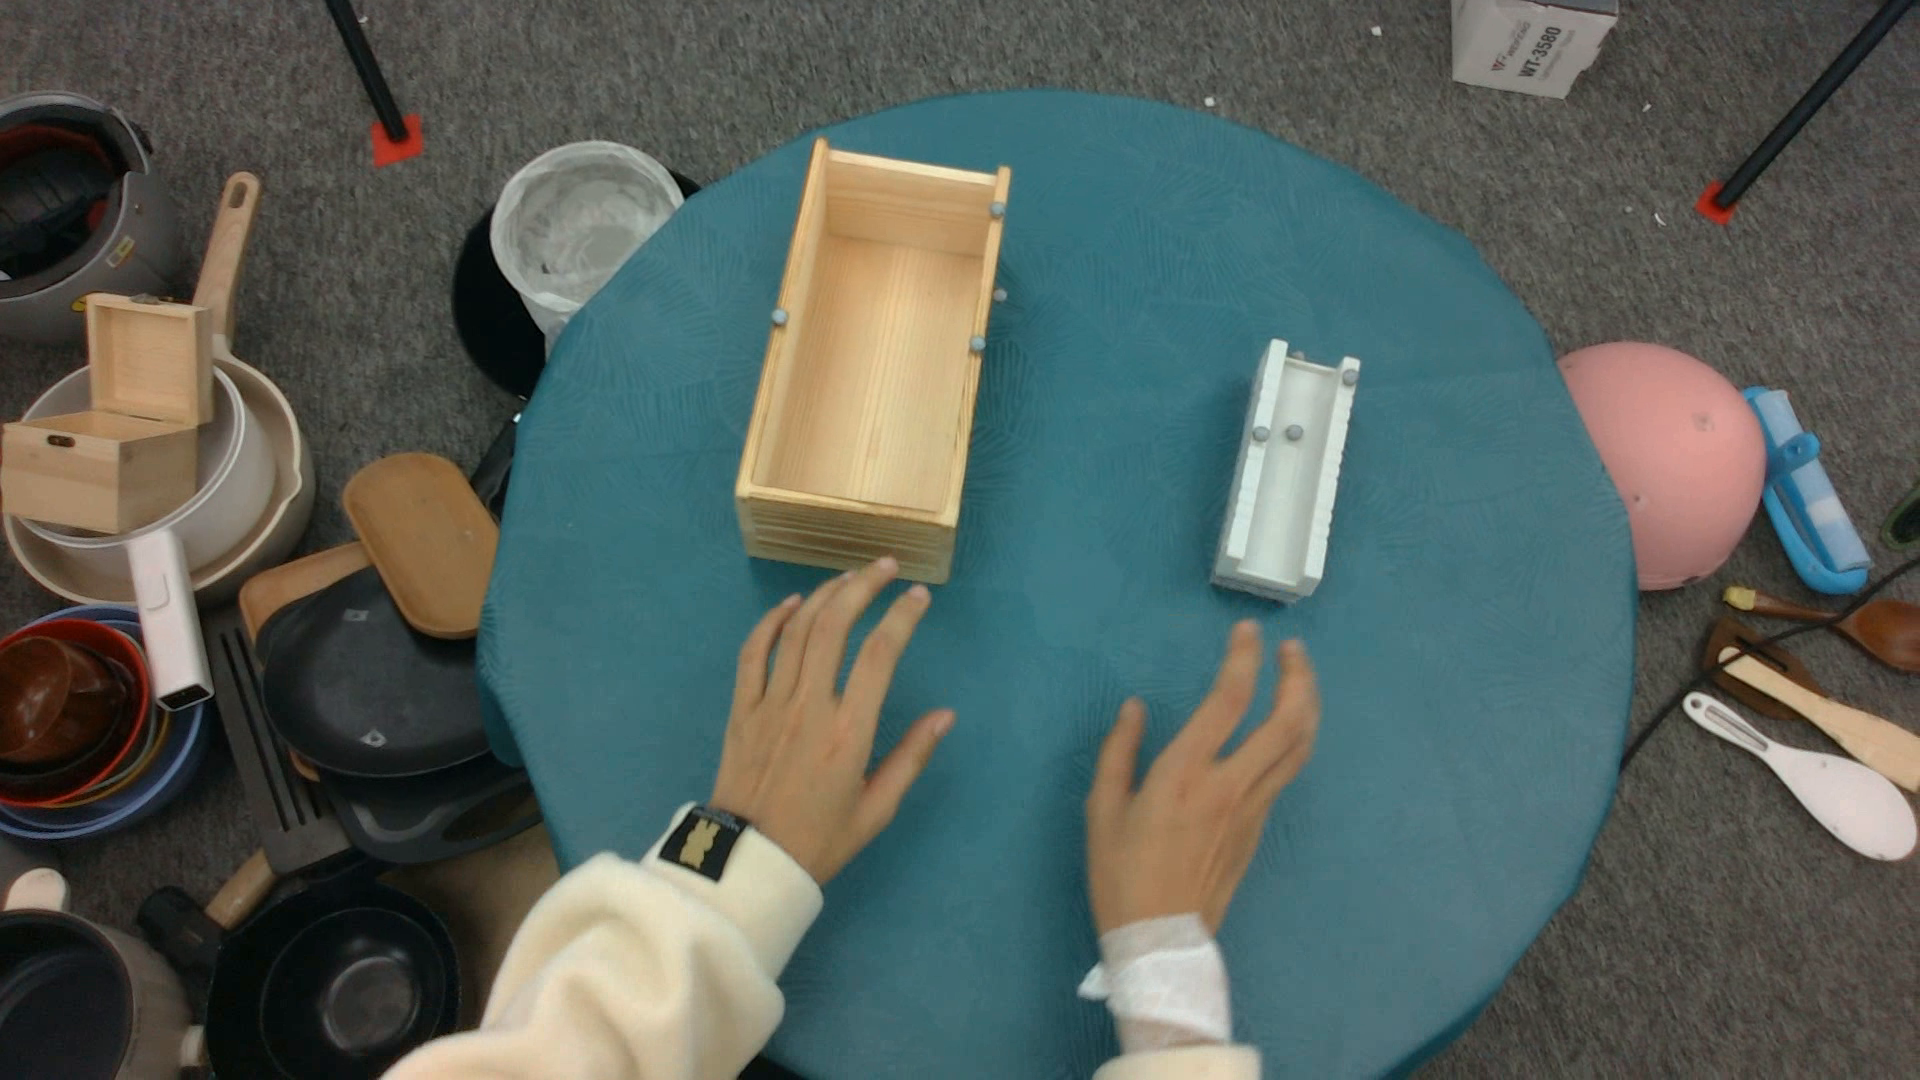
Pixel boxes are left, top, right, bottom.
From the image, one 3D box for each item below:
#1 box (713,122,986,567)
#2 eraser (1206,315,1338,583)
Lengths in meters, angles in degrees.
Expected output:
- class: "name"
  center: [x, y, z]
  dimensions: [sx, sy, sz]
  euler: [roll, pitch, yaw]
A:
- class: "box"
  center: [-0.053, -0.103, 0.715]
  dimensions: [0.107, 0.080, 0.212]
  euler: [7, 66, -1]
- class: "eraser"
  center: [0.163, -0.048, 0.727]
  dimensions: [0.050, 0.046, 0.135]
  euler: [13, 65, -1]
